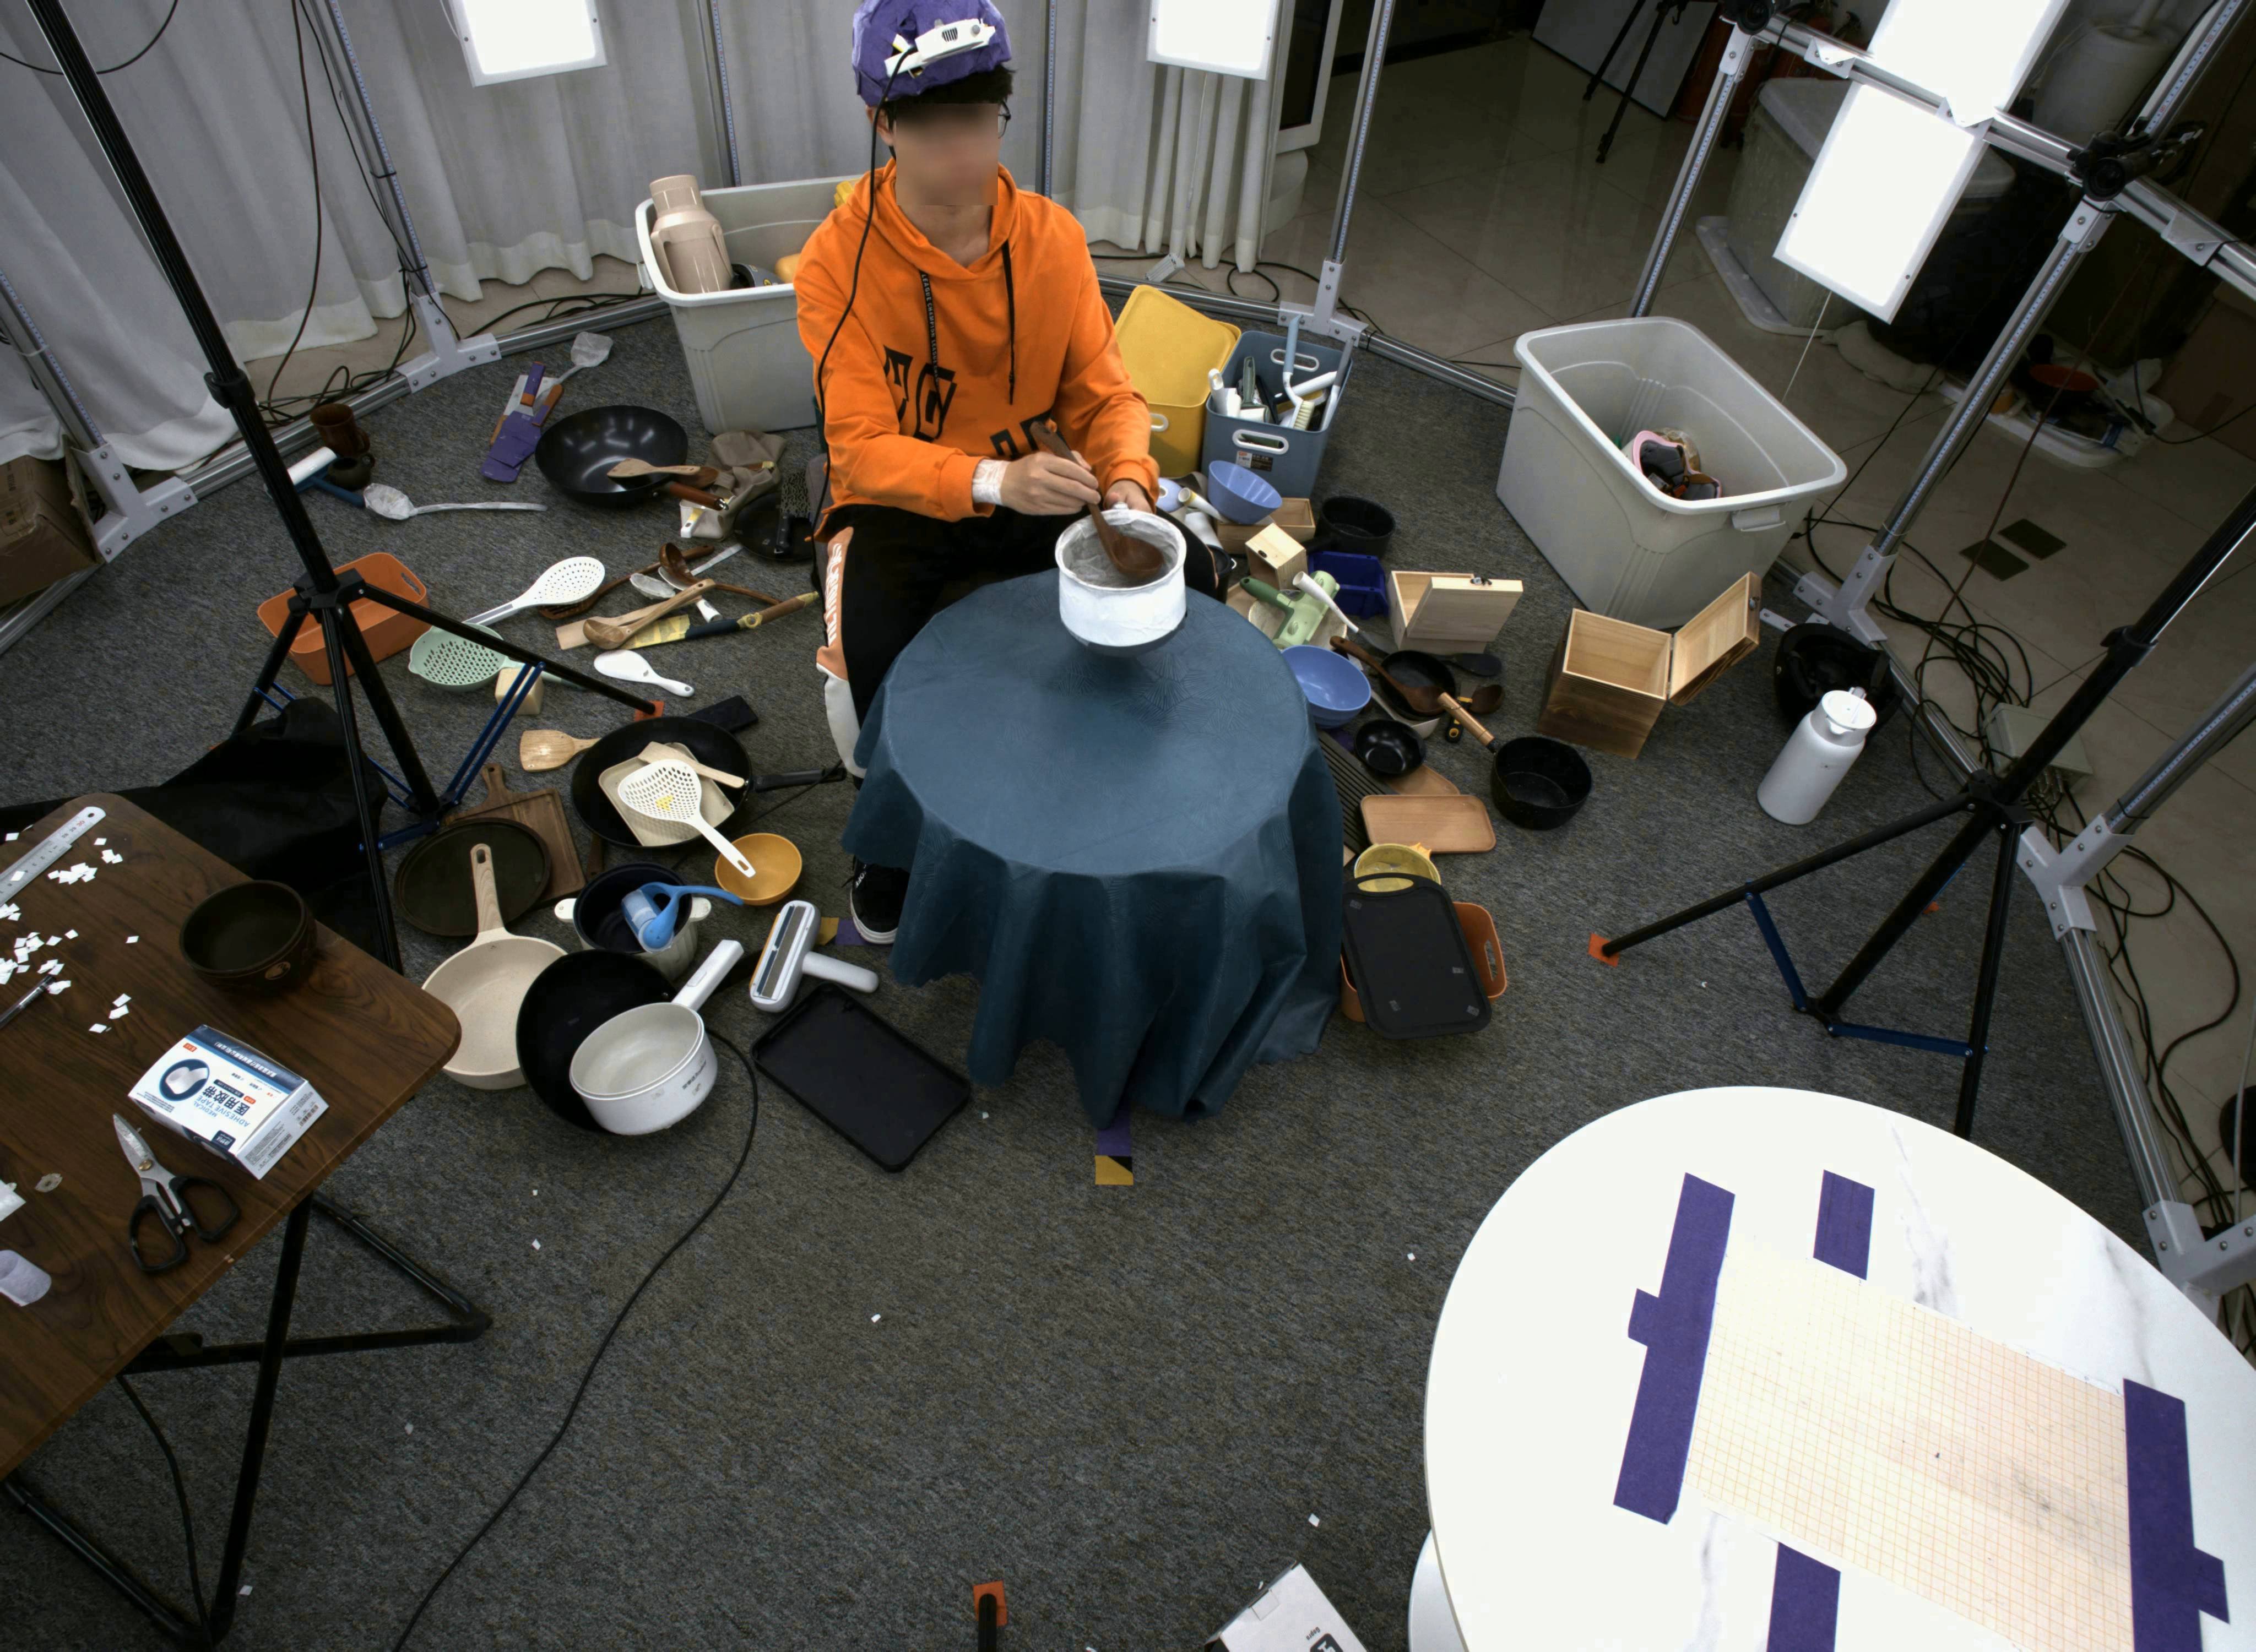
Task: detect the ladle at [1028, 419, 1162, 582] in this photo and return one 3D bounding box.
[{"bbox_3d":[-0.042,-0.445,1.749,0.065,0.256,0.078,-18,24,38],"label":"ladle"}]

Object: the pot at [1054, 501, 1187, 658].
[{"bbox_3d":[-0.009,-0.351,1.790,0.178,0.133,0.239,-3,48,-1],"label":"pot"}]
